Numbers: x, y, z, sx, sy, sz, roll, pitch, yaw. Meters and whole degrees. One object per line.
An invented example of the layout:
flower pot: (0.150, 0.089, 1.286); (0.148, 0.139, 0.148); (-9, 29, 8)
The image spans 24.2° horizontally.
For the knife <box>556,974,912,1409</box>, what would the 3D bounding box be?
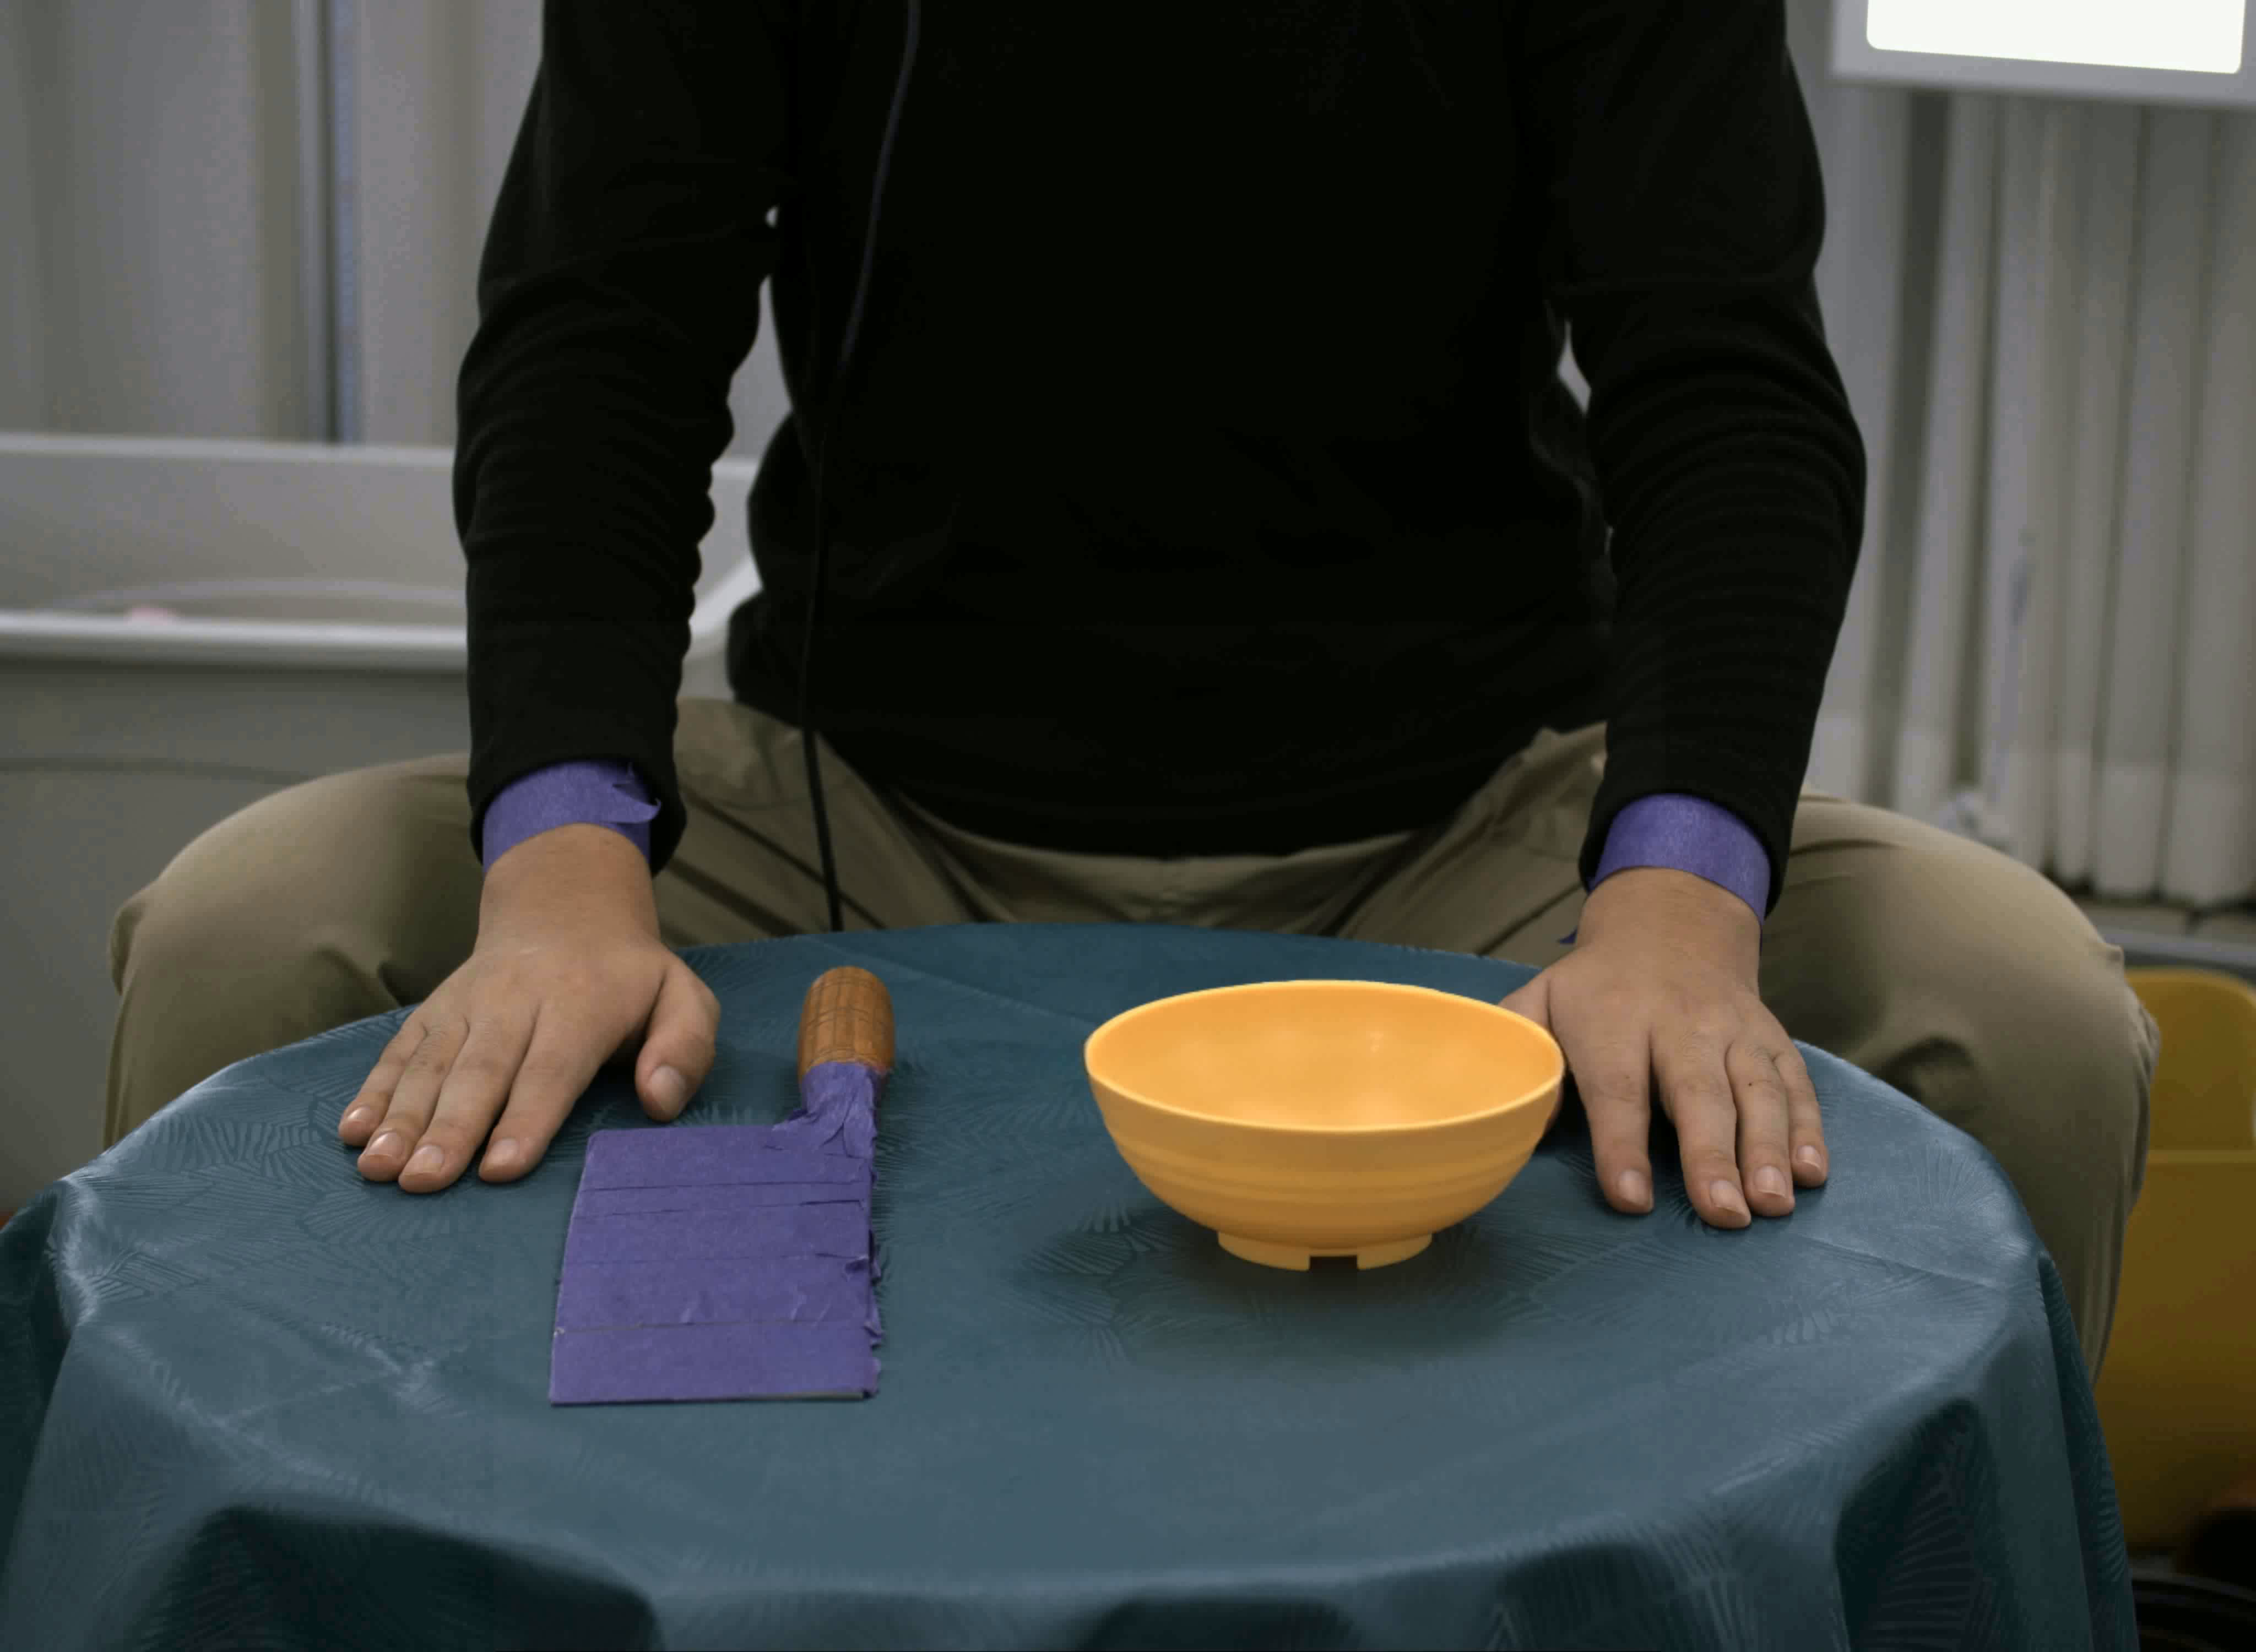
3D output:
knife: (-0.119, 0.106, 1.591); (0.103, 0.032, 0.313); (0, 16, -3)

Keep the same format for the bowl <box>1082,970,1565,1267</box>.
bowl: (0.057, 0.093, 1.578); (0.145, 0.060, 0.144); (2, 16, 0)
